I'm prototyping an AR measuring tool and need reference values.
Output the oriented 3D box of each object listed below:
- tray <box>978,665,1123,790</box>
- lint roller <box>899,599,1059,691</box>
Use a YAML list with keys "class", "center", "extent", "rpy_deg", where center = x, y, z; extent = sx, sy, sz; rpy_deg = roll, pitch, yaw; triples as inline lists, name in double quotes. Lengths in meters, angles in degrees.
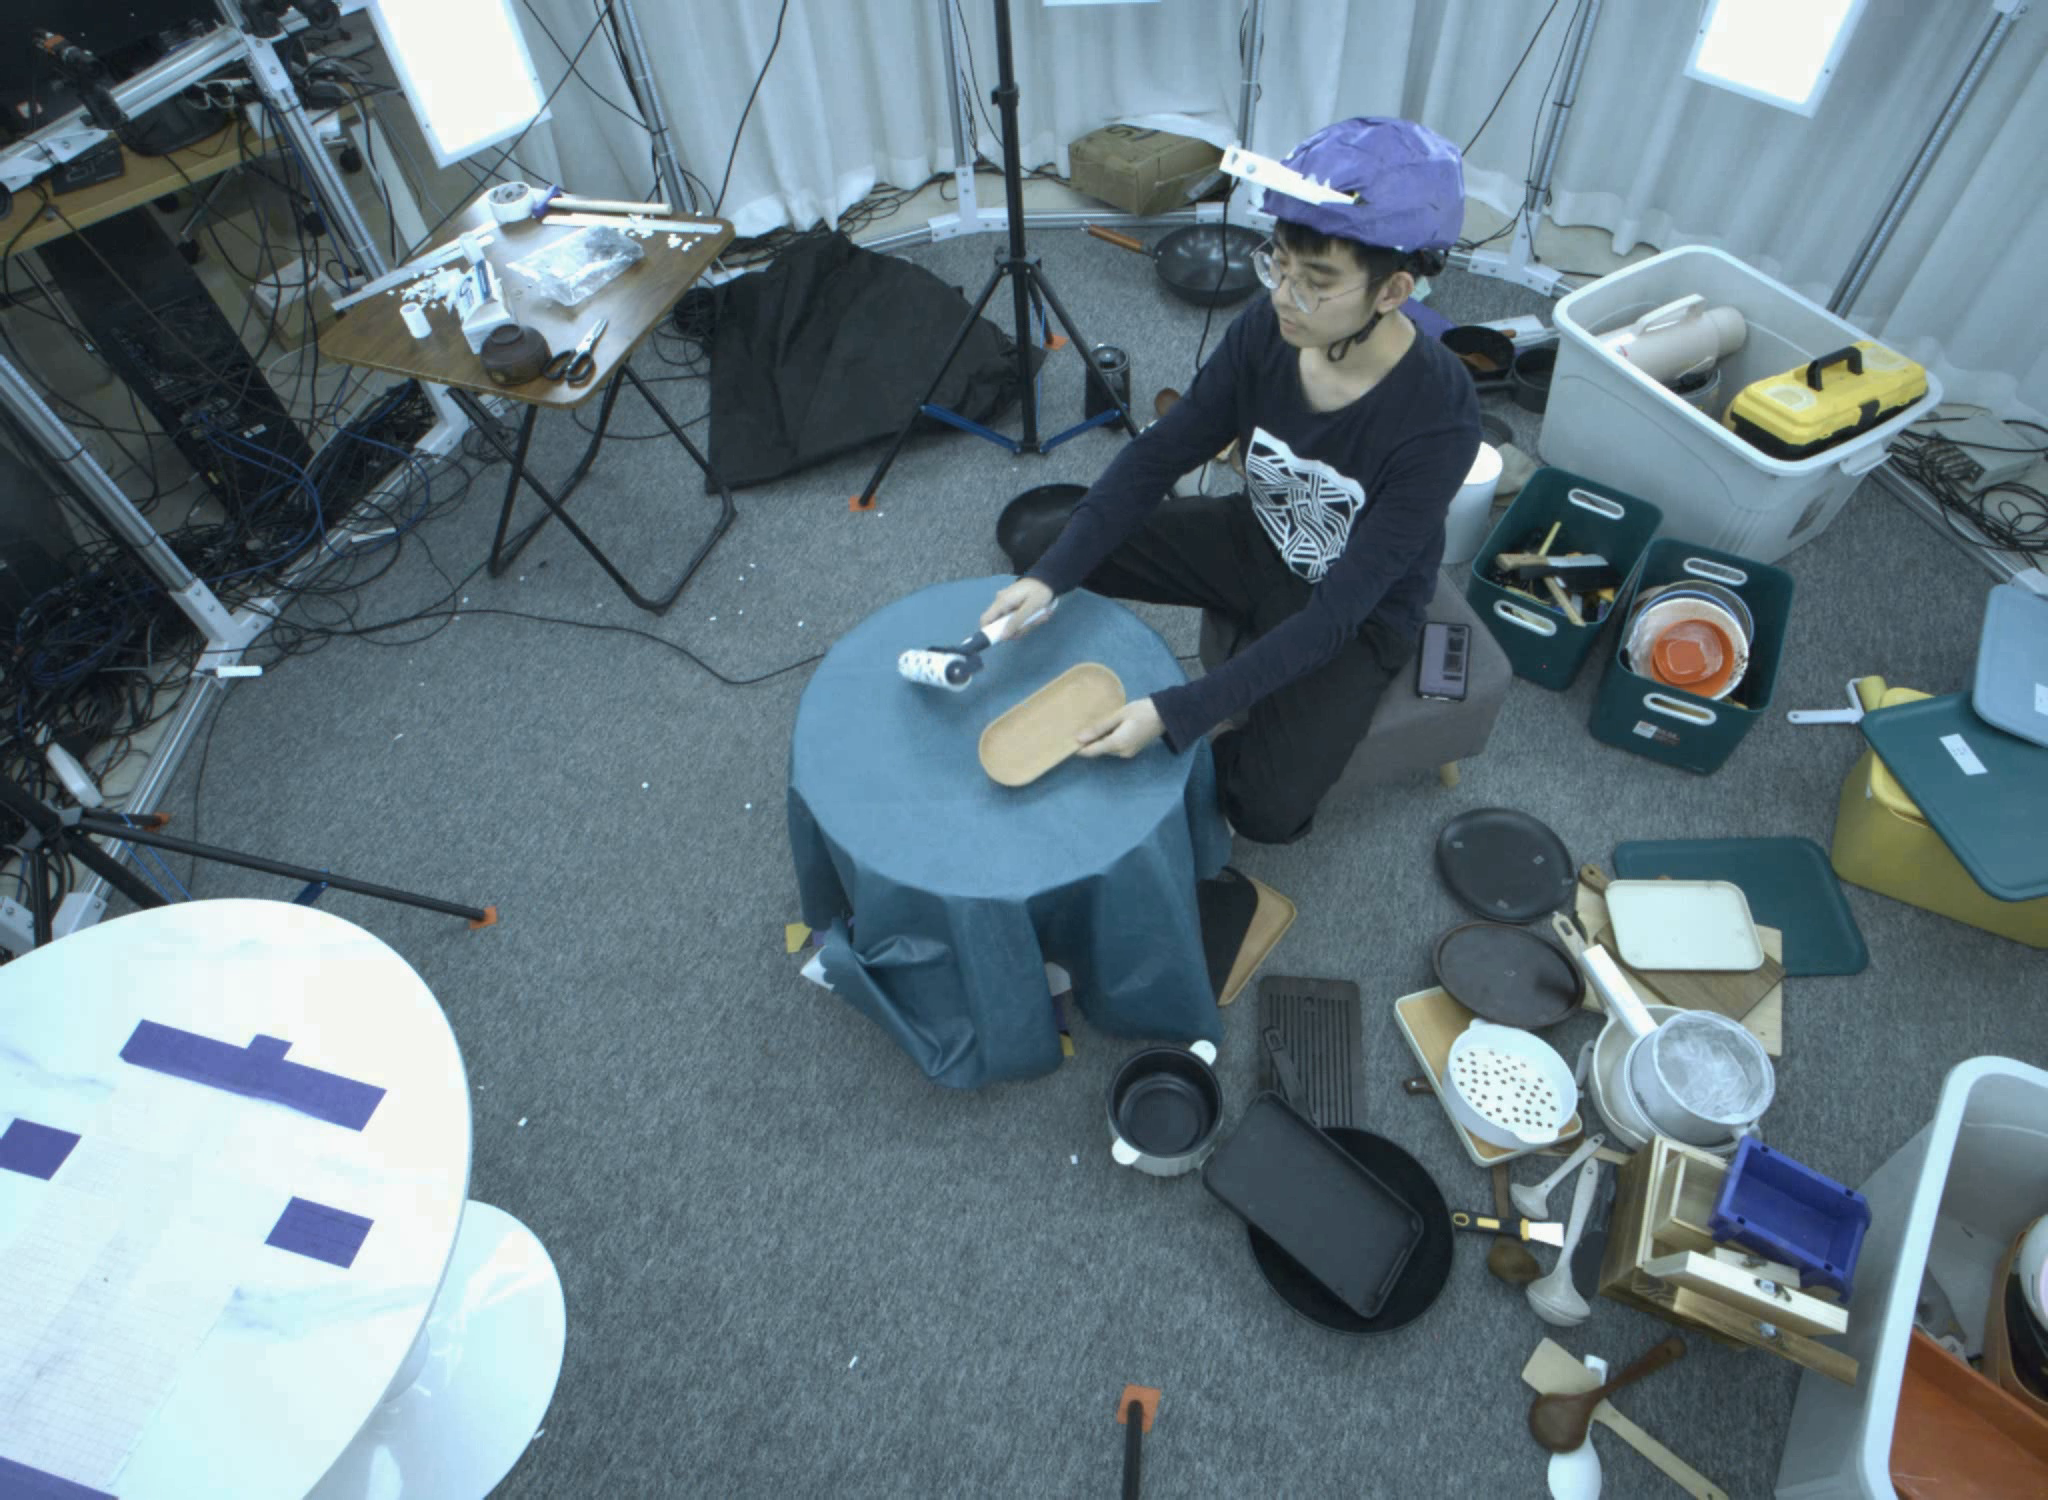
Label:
- class: "tray"
  center: [0.038, -0.032, 1.743]
  extent: [0.232, 0.020, 0.102]
  rpy_deg: [-36, 91, -8]
- class: "lint roller"
  center: [-0.053, -0.169, 1.827]
  extent: [0.249, 0.051, 0.172]
  rpy_deg: [-33, 25, -22]
